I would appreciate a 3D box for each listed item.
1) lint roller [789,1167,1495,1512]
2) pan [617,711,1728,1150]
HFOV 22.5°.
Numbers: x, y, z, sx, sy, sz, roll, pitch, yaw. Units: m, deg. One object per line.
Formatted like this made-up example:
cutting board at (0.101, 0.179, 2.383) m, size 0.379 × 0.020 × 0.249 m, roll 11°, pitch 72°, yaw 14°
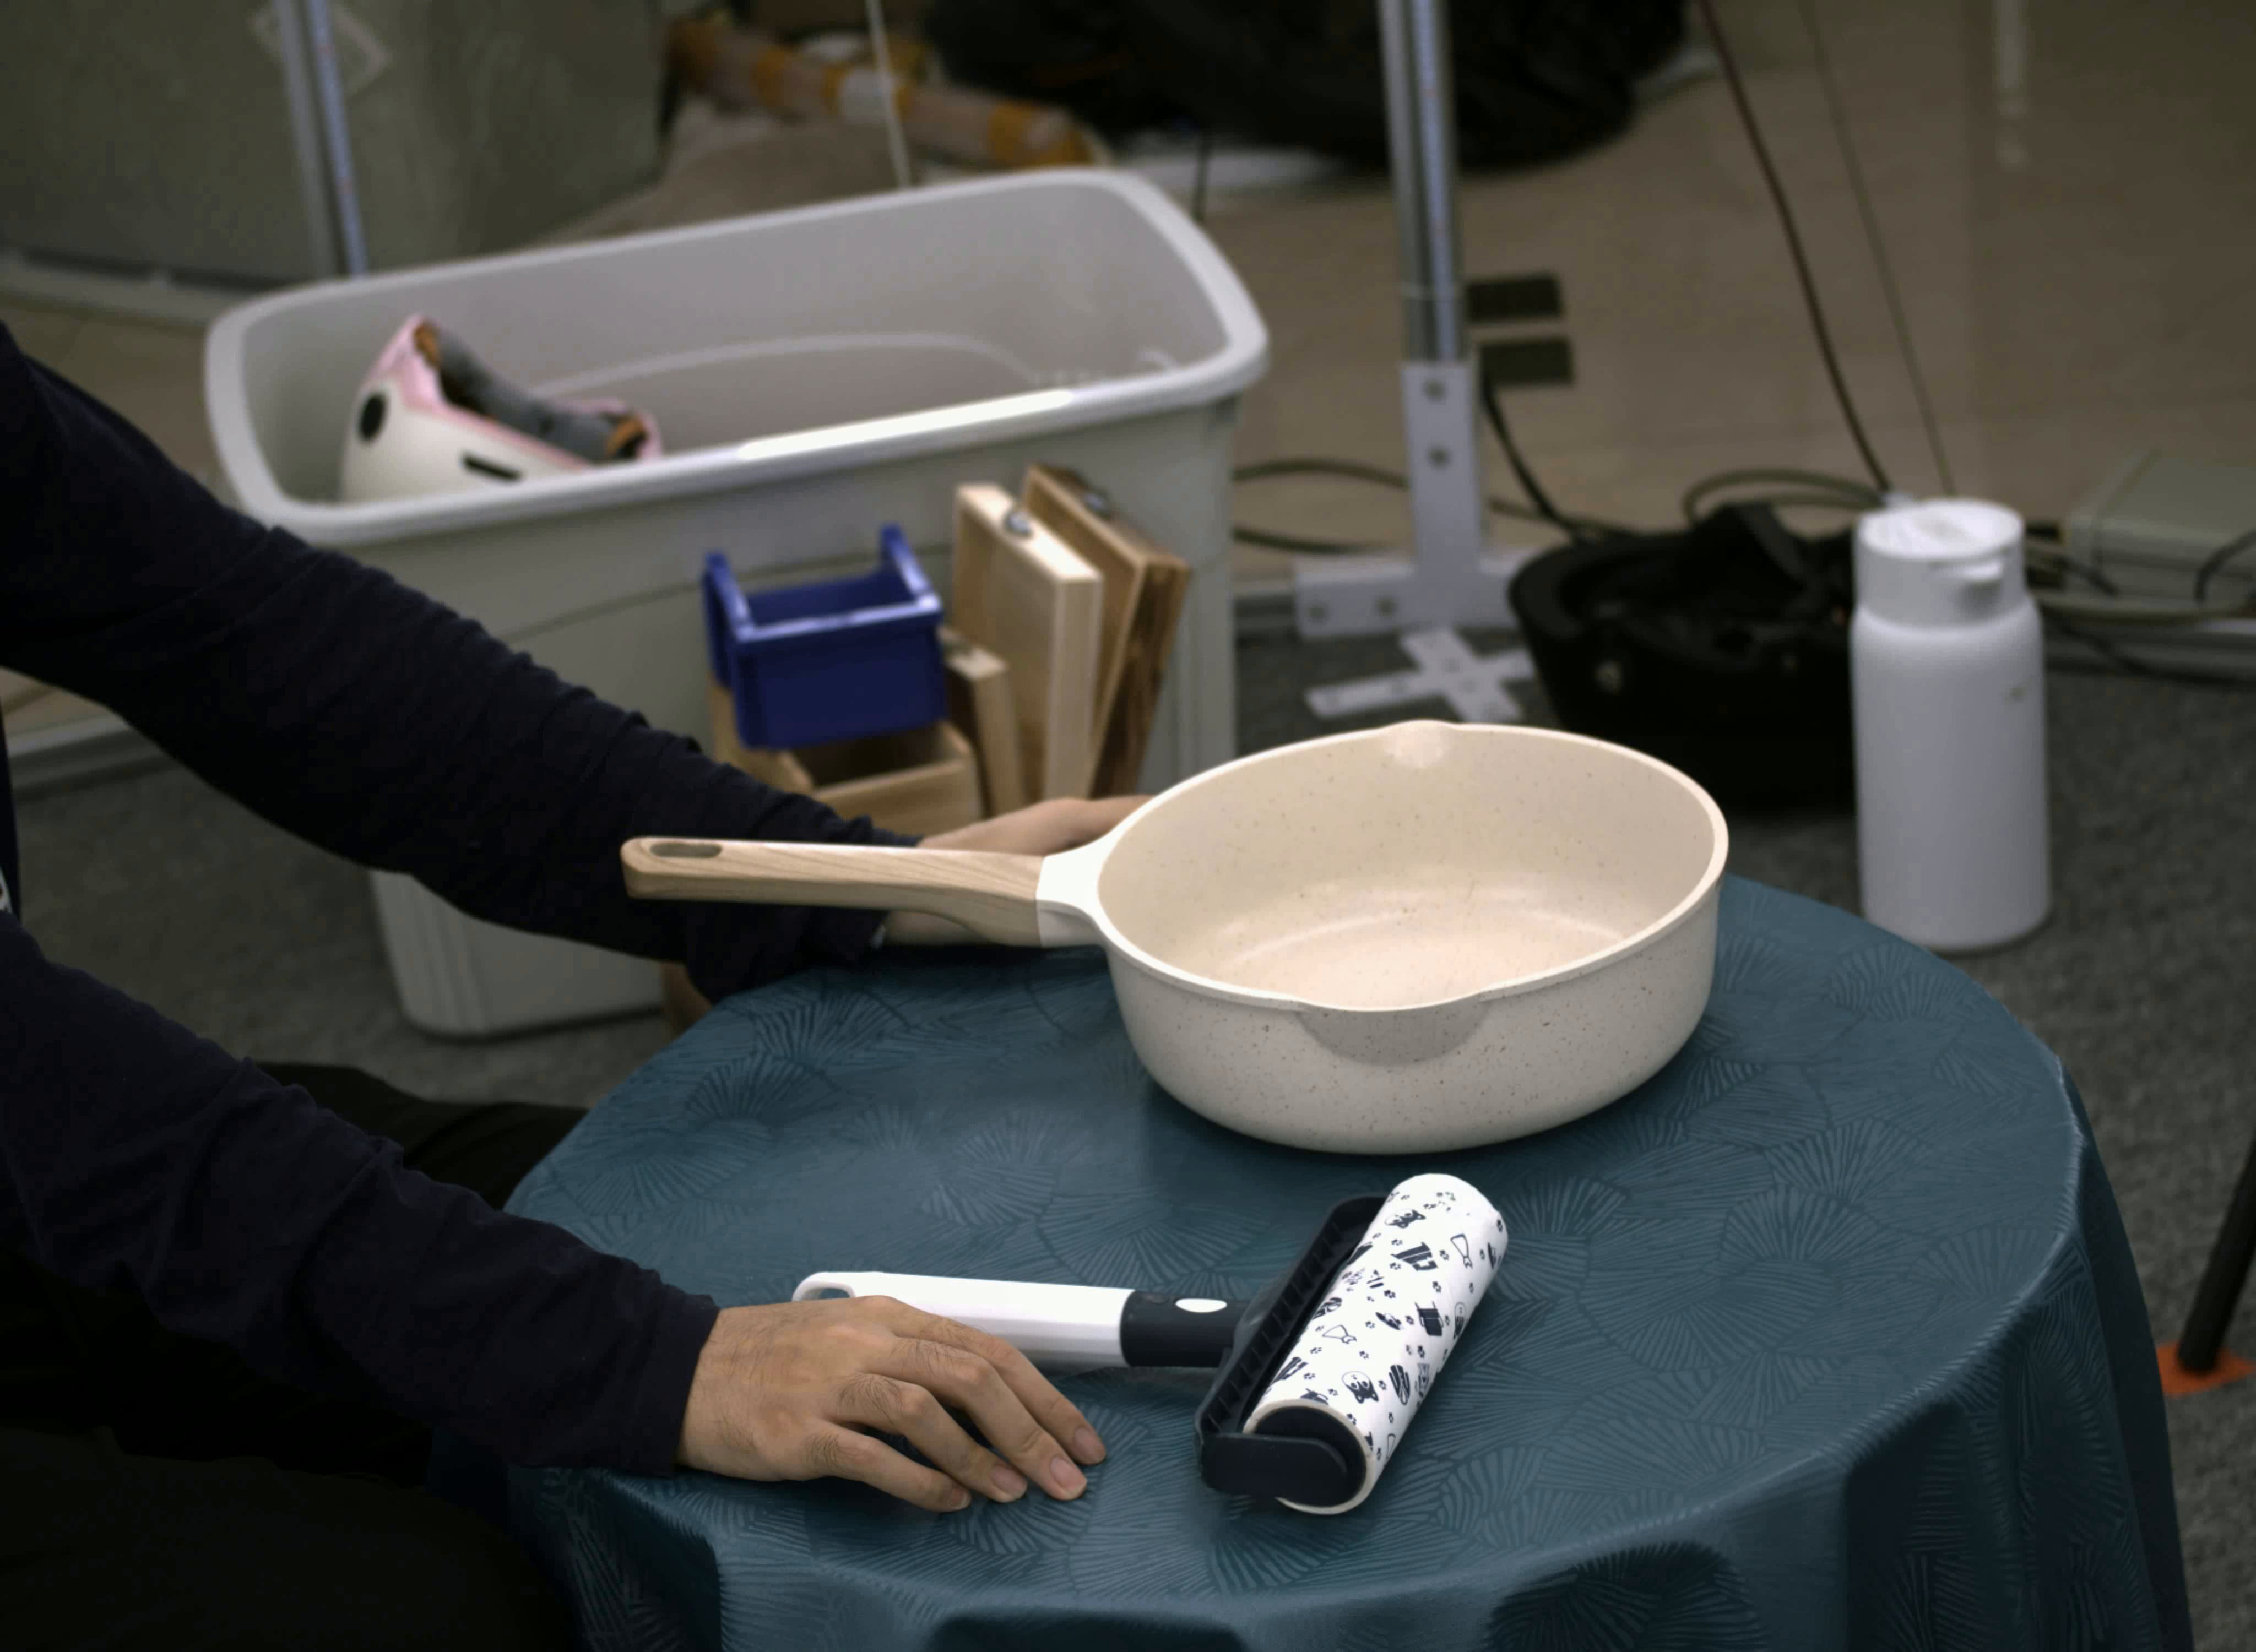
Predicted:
lint roller at (-0.009, 0.178, 2.021) m, size 0.246 × 0.051 × 0.174 m, roll 1°, pitch 27°, yaw 21°
pan at (0.020, 0.044, 2.231) m, size 0.434 × 0.103 × 0.259 m, roll -4°, pitch 26°, yaw 6°
